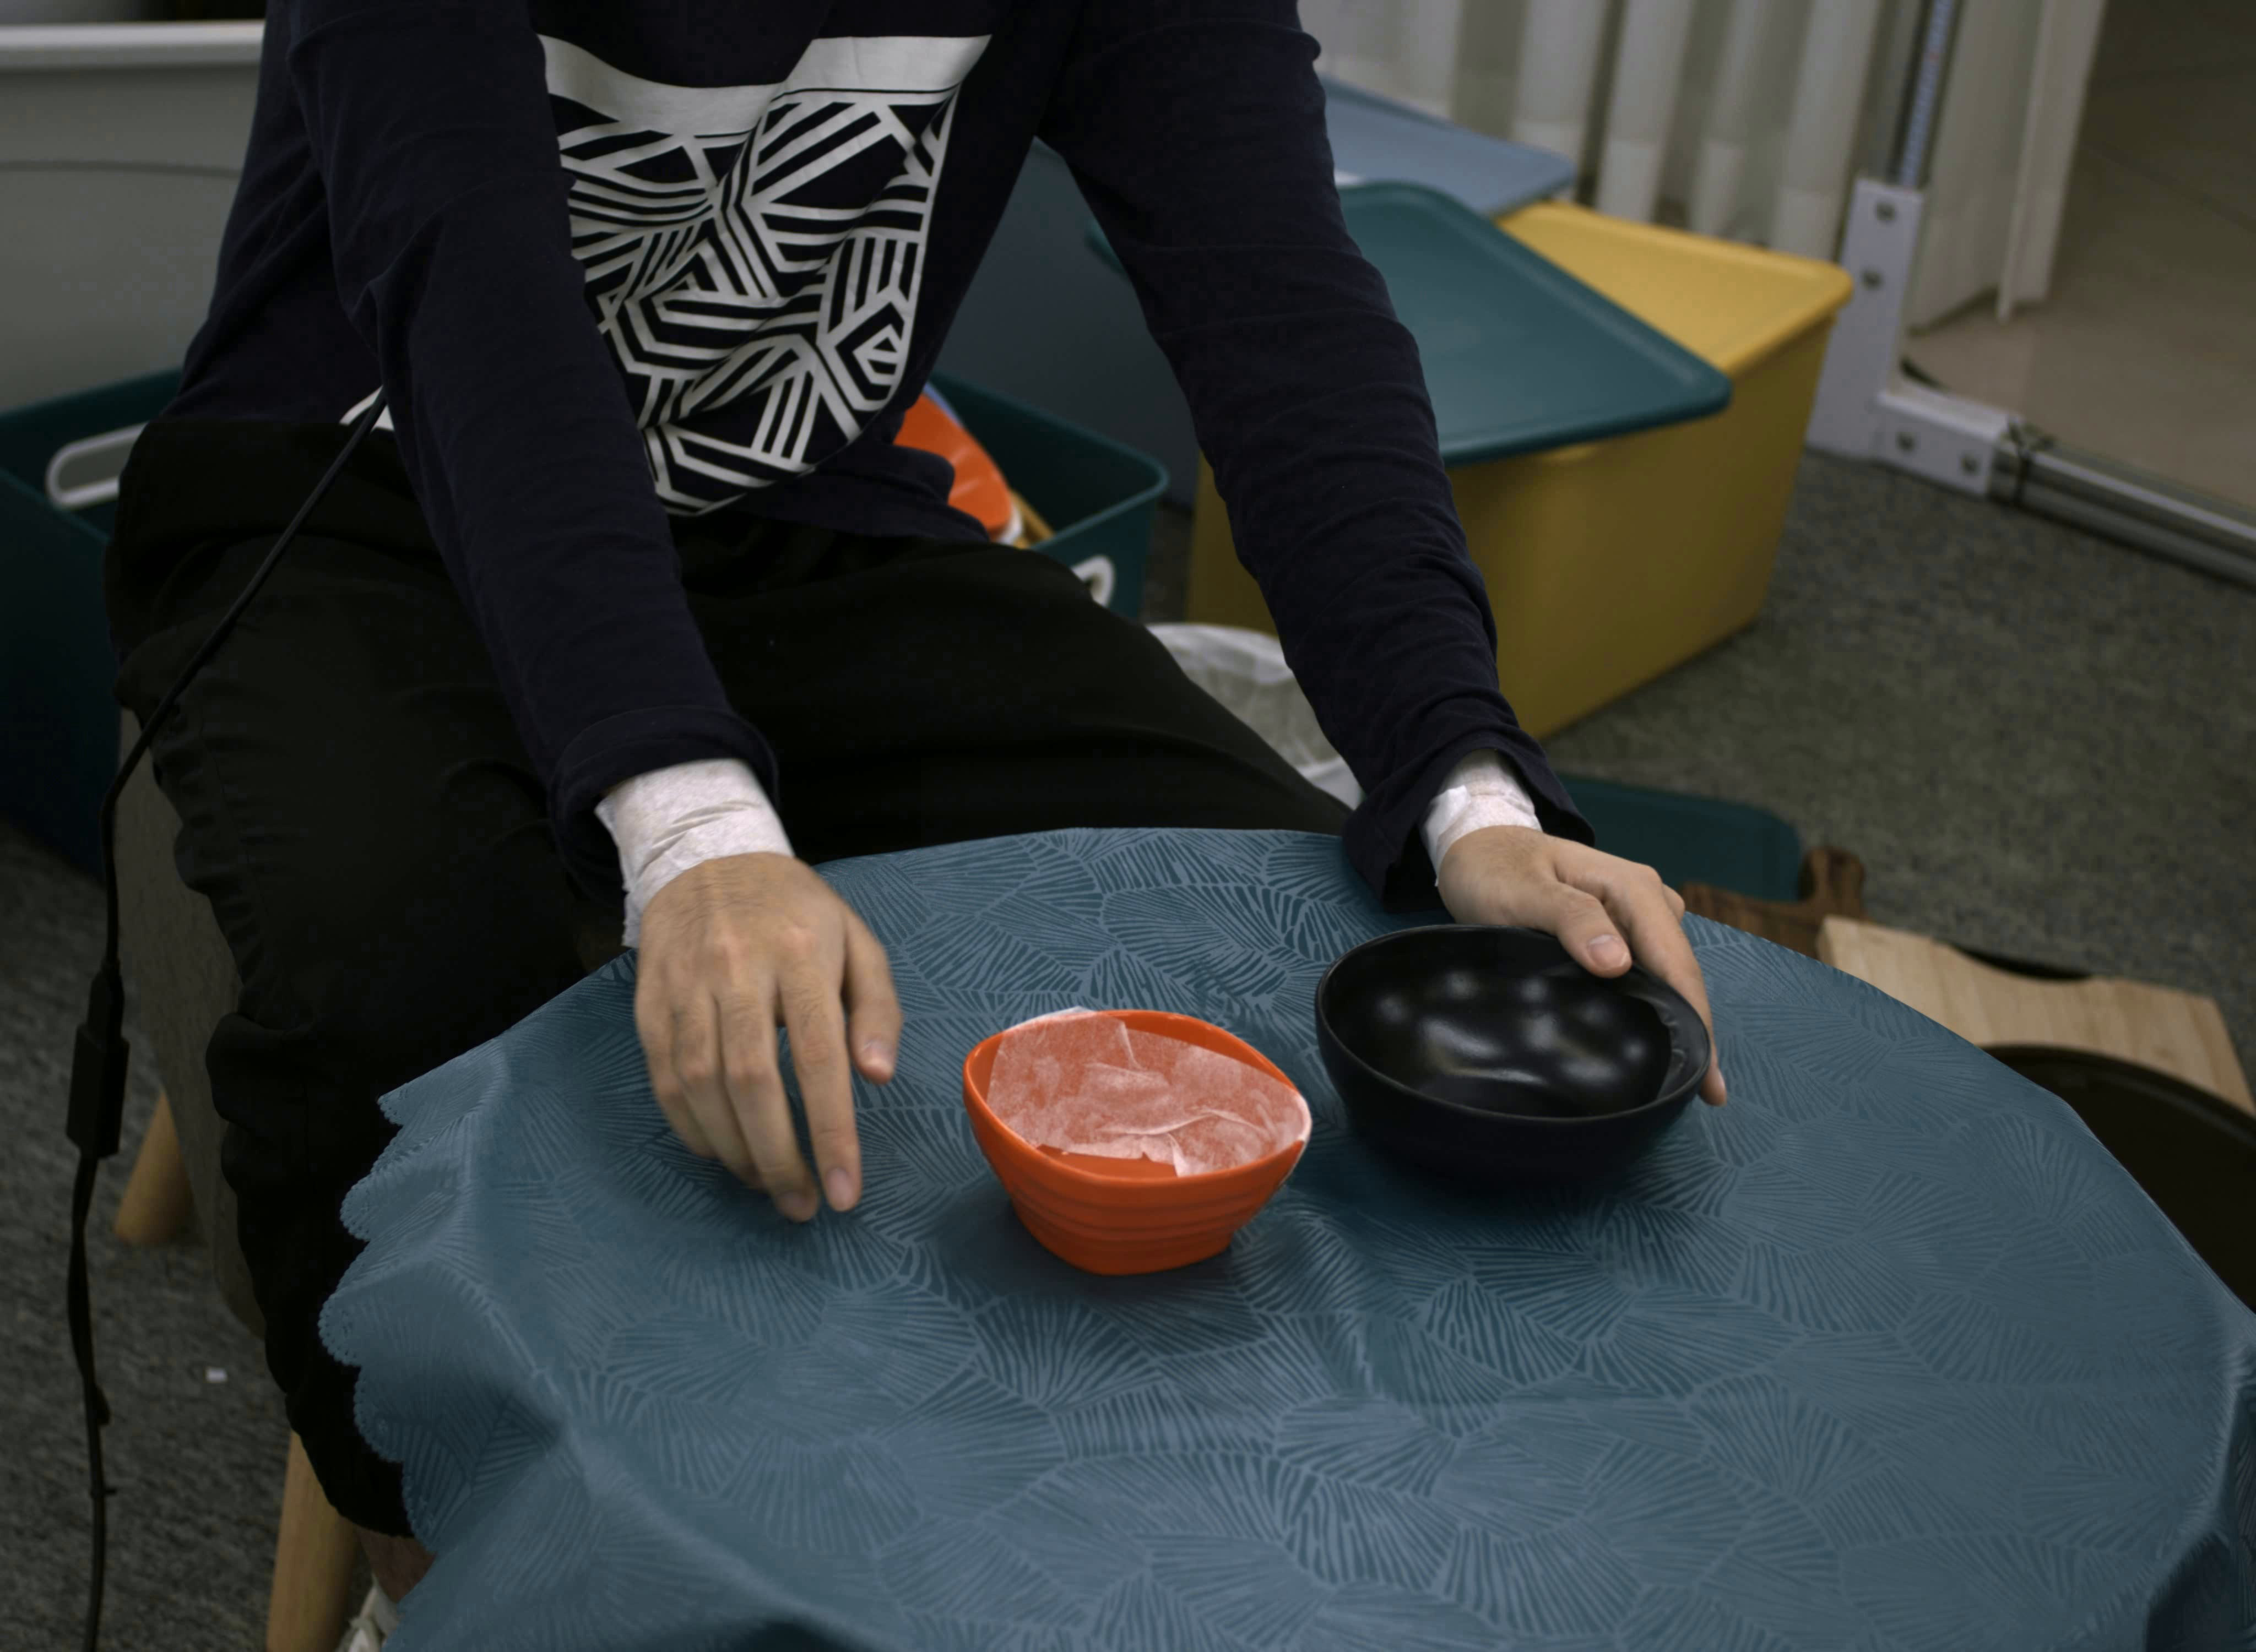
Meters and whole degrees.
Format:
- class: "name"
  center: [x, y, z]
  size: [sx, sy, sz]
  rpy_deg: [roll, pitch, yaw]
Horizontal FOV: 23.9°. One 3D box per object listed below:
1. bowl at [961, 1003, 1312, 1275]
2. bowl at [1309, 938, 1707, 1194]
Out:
- class: "bowl"
  center: [0.000, 0.109, 1.777]
  size: [0.118, 0.051, 0.119]
  rpy_deg: [5, 28, -3]
- class: "bowl"
  center: [0.130, 0.090, 1.852]
  size: [0.139, 0.049, 0.141]
  rpy_deg: [4, 23, -2]
